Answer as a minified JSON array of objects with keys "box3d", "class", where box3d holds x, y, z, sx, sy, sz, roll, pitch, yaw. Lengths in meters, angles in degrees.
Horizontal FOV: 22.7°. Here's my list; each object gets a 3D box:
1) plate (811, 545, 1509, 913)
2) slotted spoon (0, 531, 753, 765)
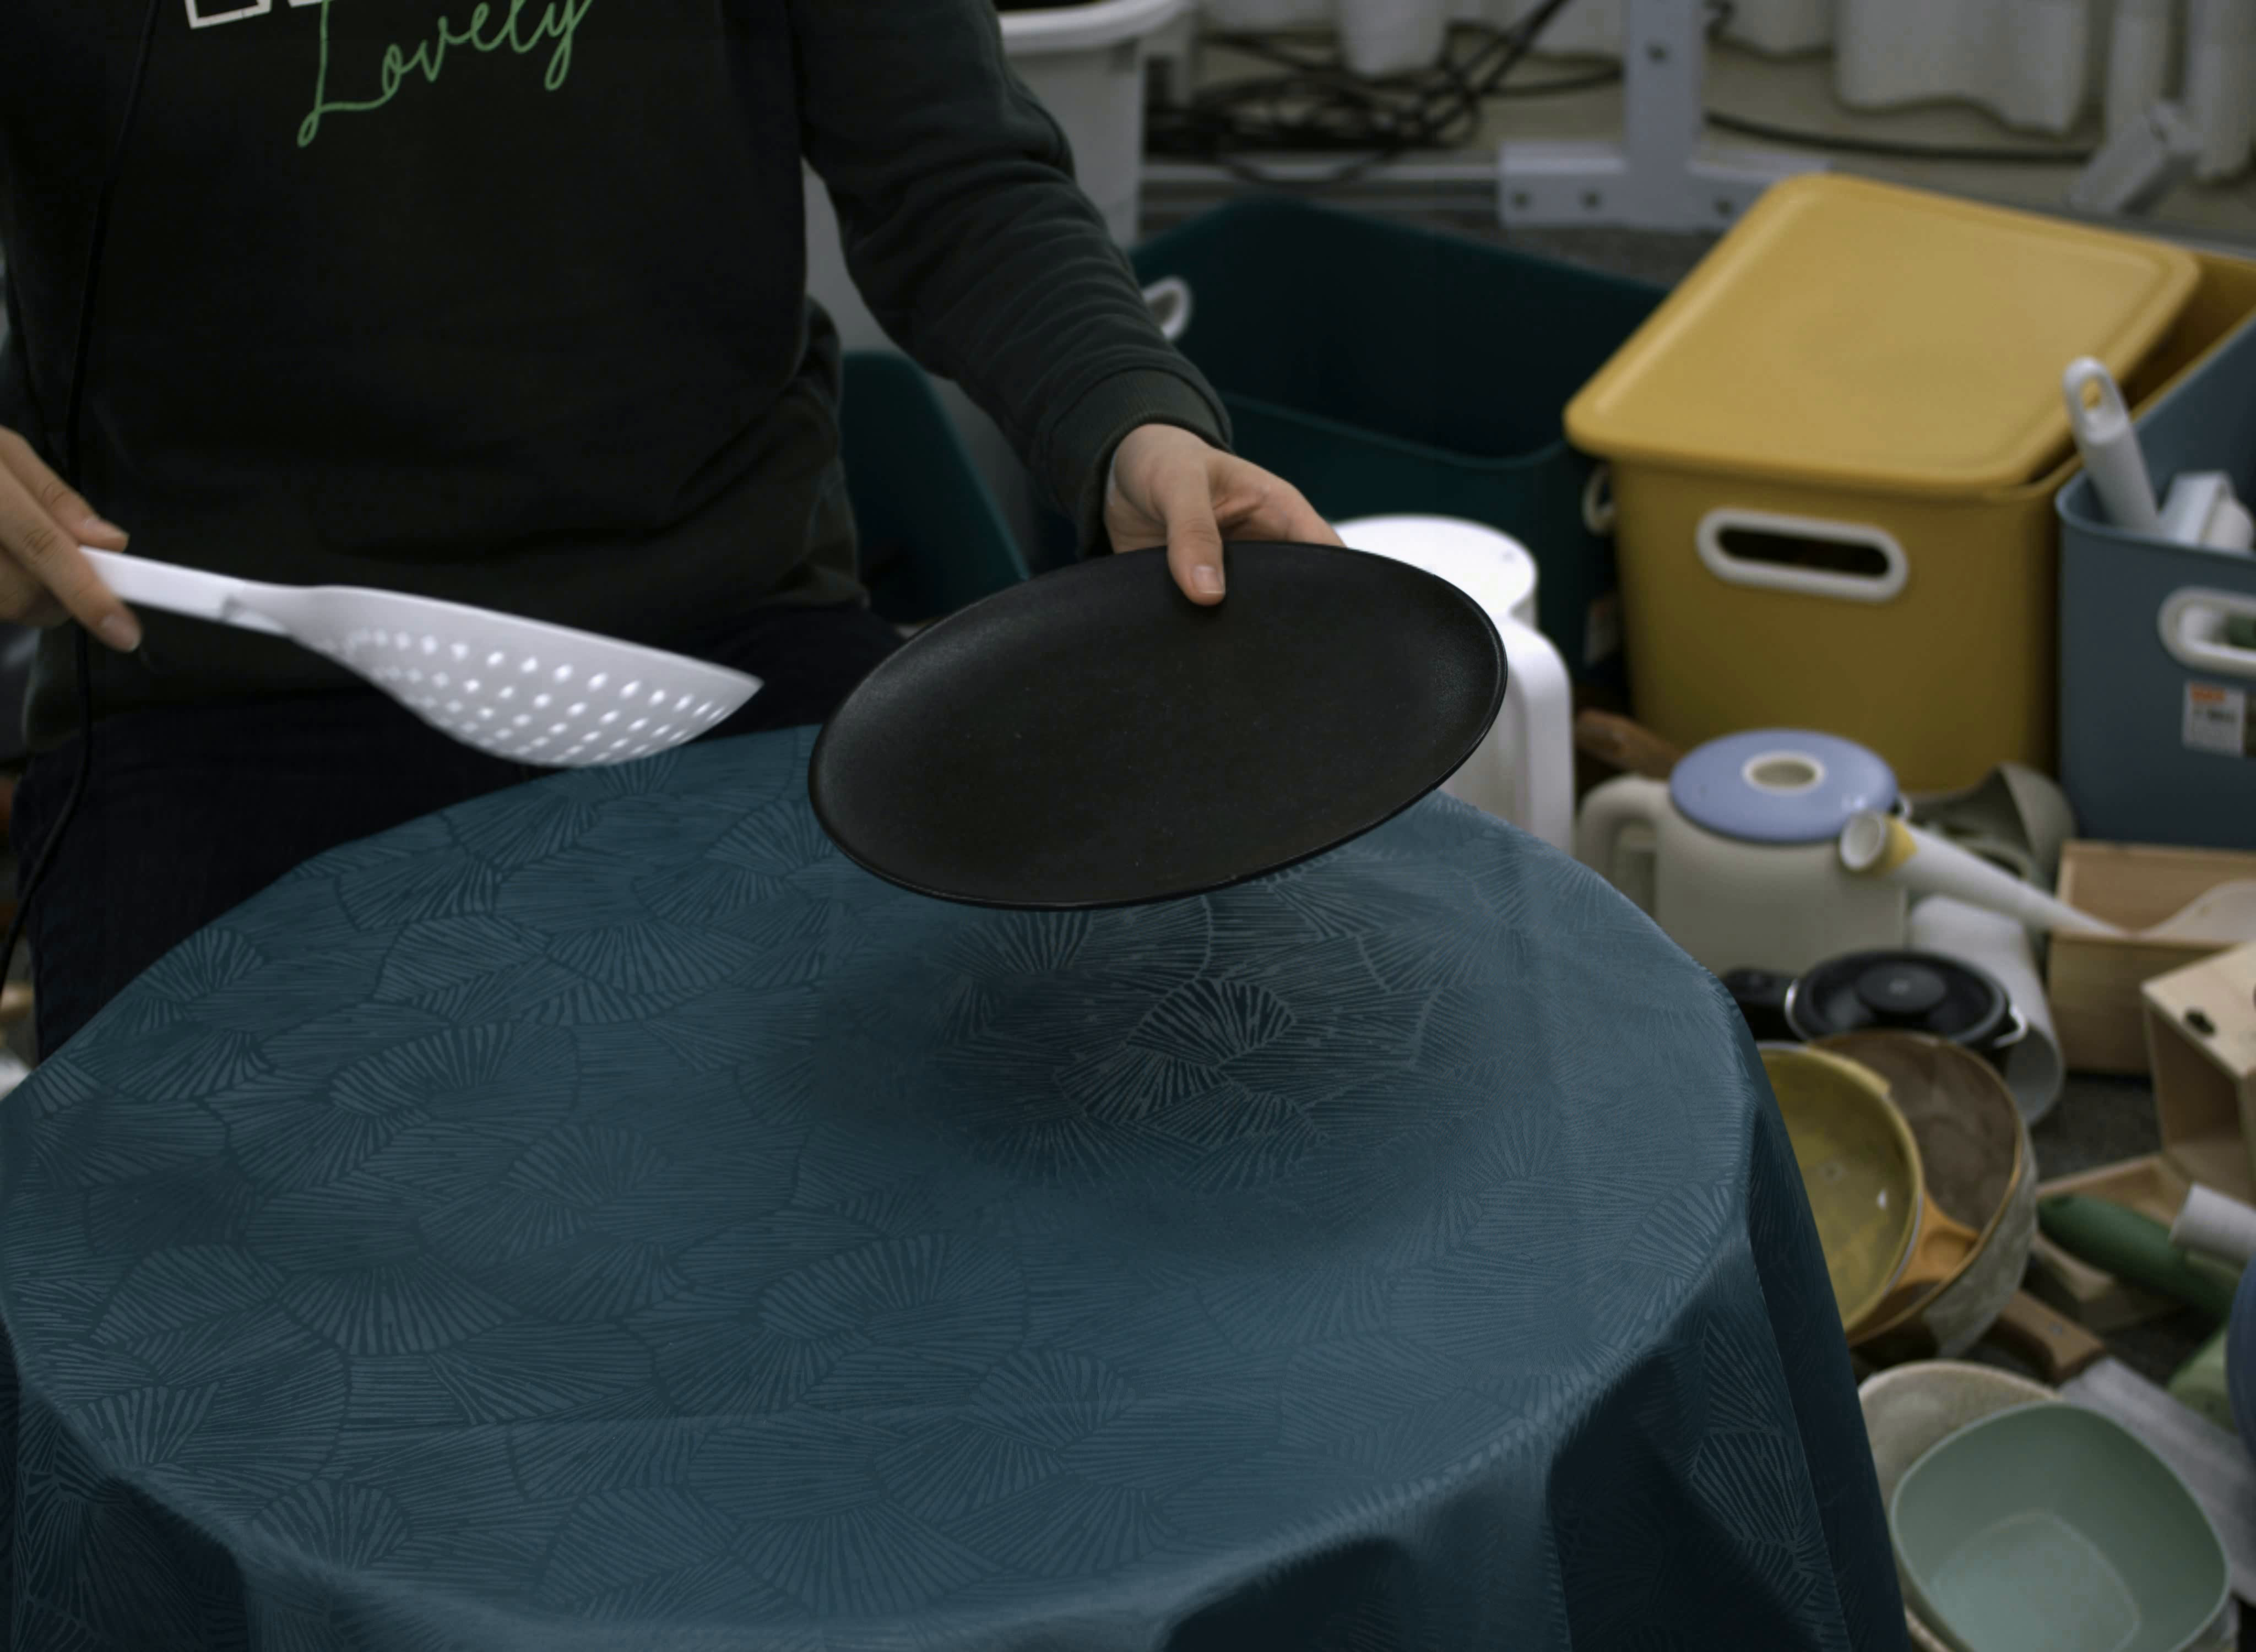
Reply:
[{"box3d":[0.012,-0.030,1.927,0.243,0.023,0.248,-8,29,5],"class":"plate"},{"box3d":[-0.276,-0.070,1.814,0.348,0.046,0.136,17,-2,31],"class":"slotted spoon"}]
